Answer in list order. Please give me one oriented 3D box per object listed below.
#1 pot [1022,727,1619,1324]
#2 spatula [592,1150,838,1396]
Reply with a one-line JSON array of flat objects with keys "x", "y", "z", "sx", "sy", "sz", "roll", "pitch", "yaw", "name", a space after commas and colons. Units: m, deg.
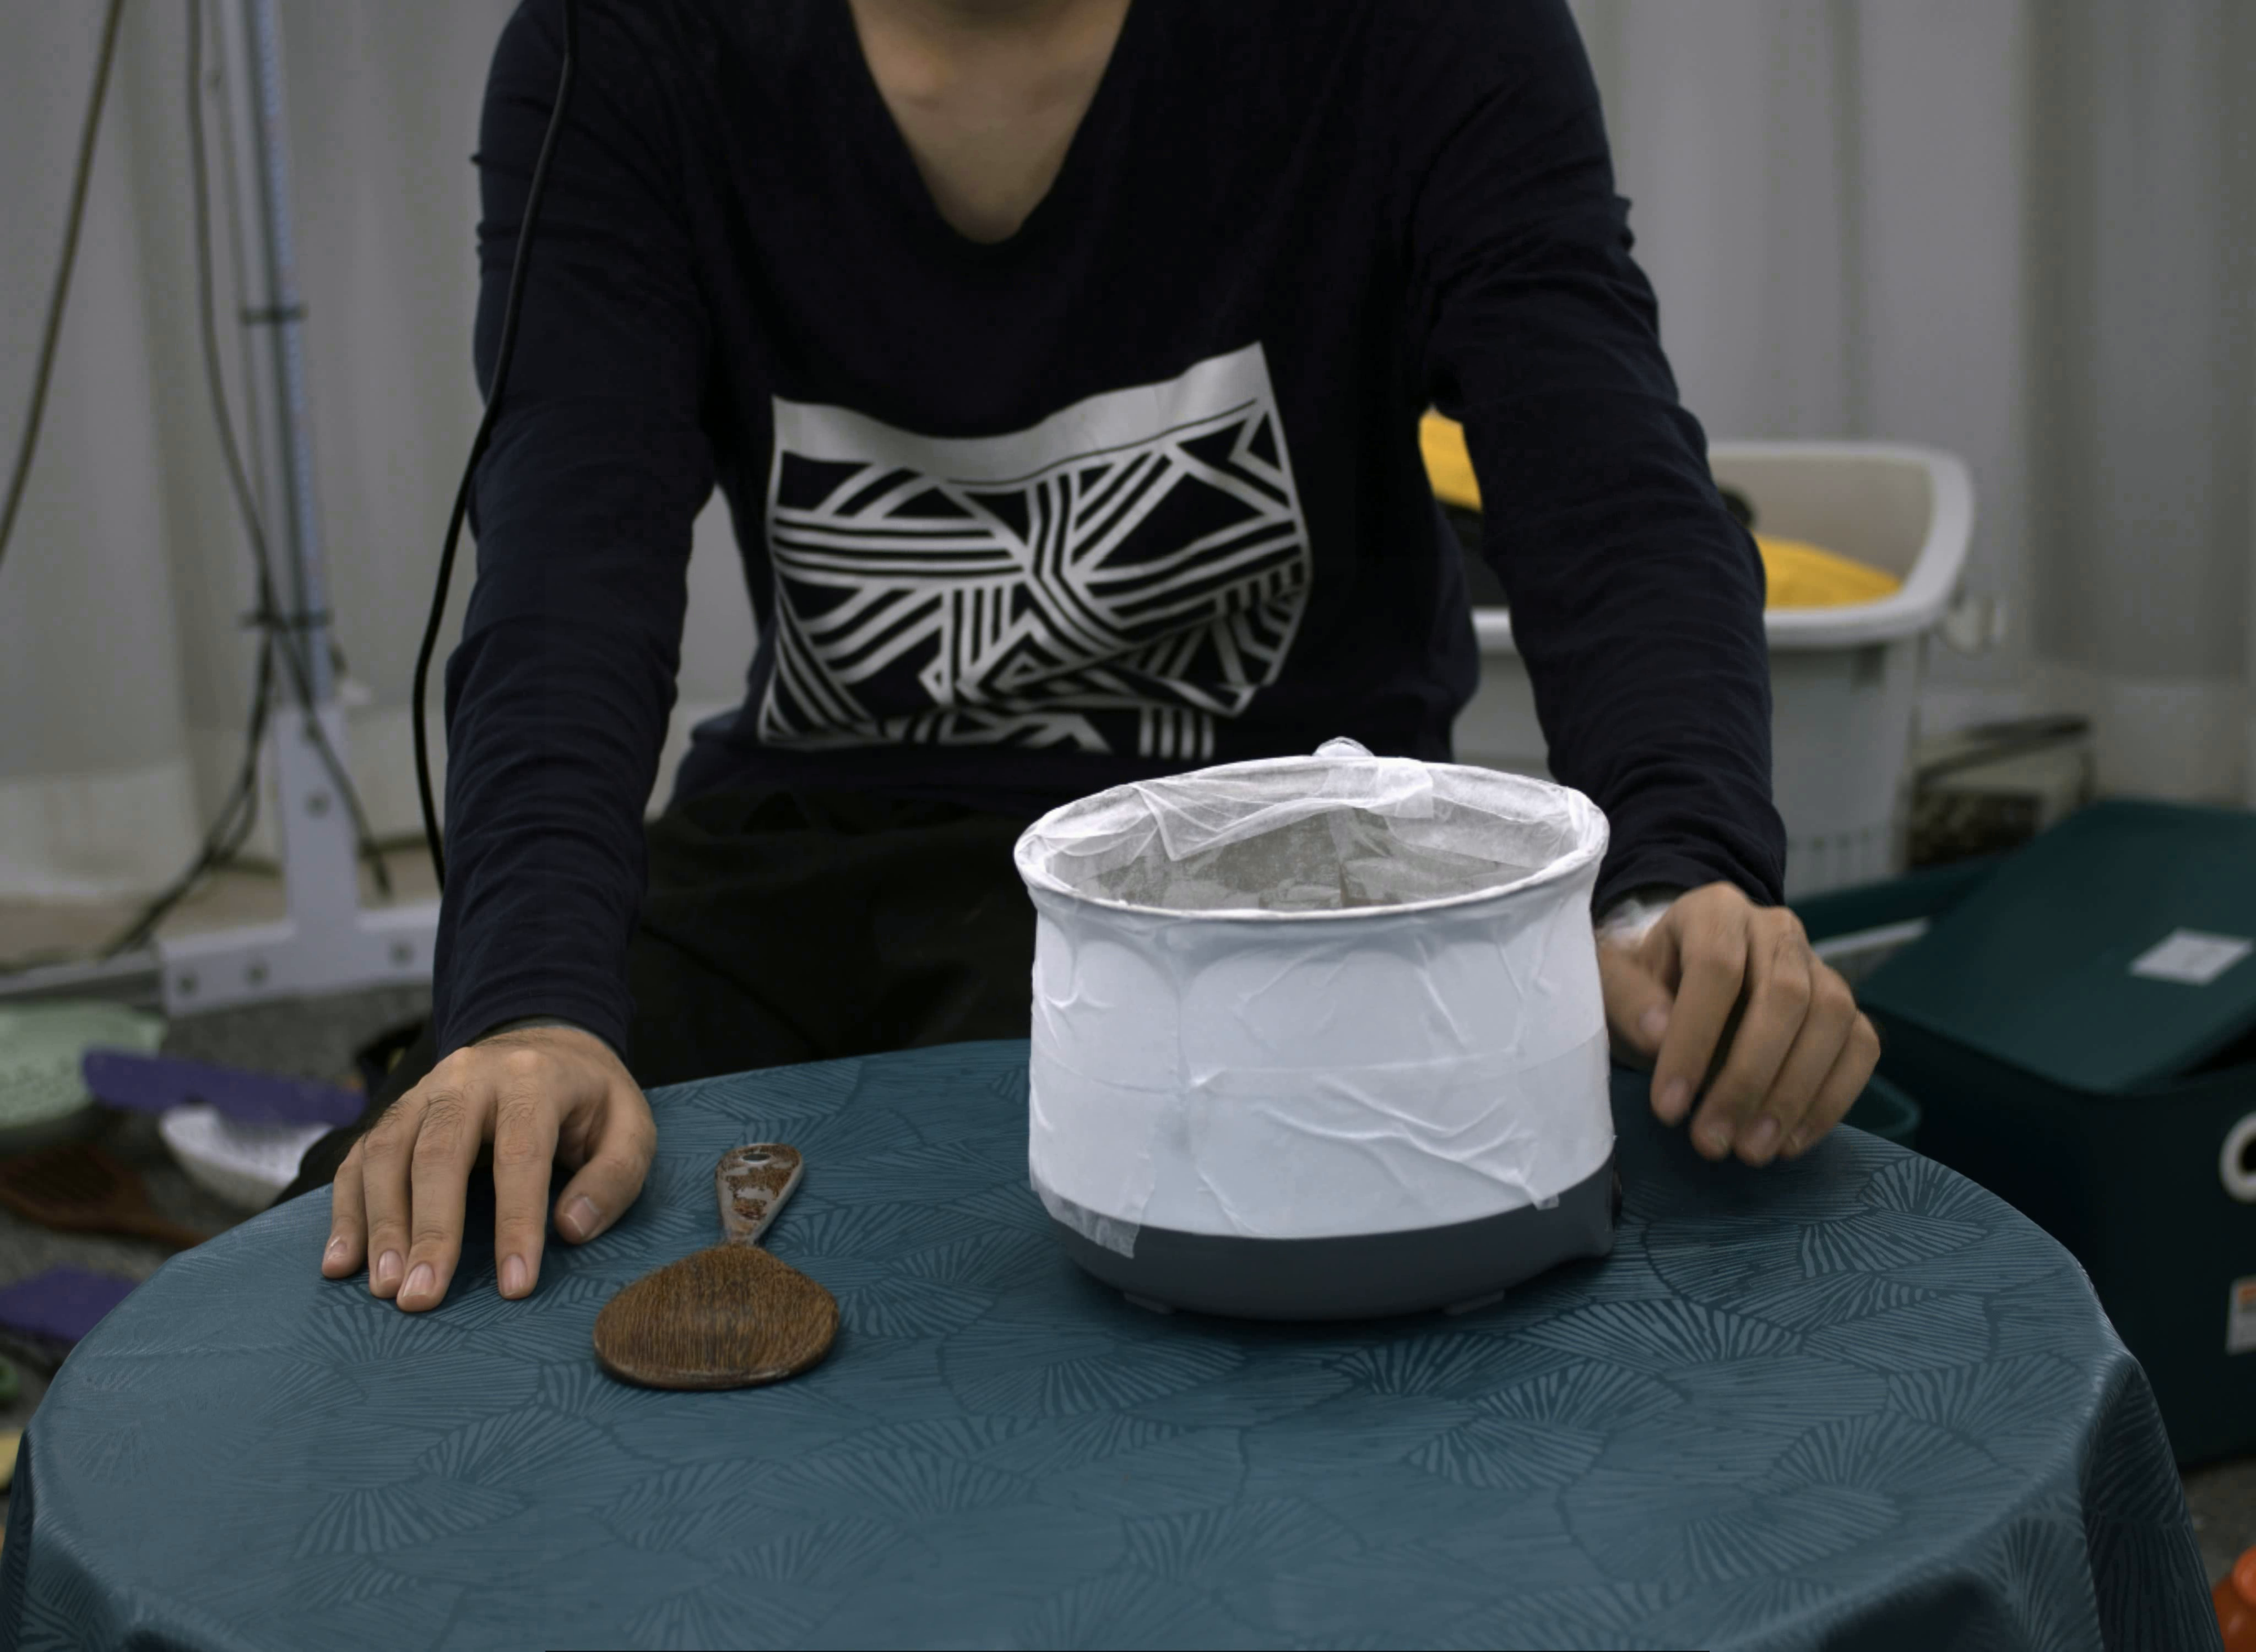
[{"x": 0.060, "y": 0.055, "z": 1.661, "sx": 0.178, "sy": 0.136, "sz": 0.235, "roll": 2, "pitch": 16, "yaw": 6, "name": "pot"}, {"x": -0.118, "y": 0.133, "z": 1.664, "sx": 0.071, "sy": 0.009, "sz": 0.217, "roll": -1, "pitch": 14, "yaw": 2, "name": "spatula"}]
